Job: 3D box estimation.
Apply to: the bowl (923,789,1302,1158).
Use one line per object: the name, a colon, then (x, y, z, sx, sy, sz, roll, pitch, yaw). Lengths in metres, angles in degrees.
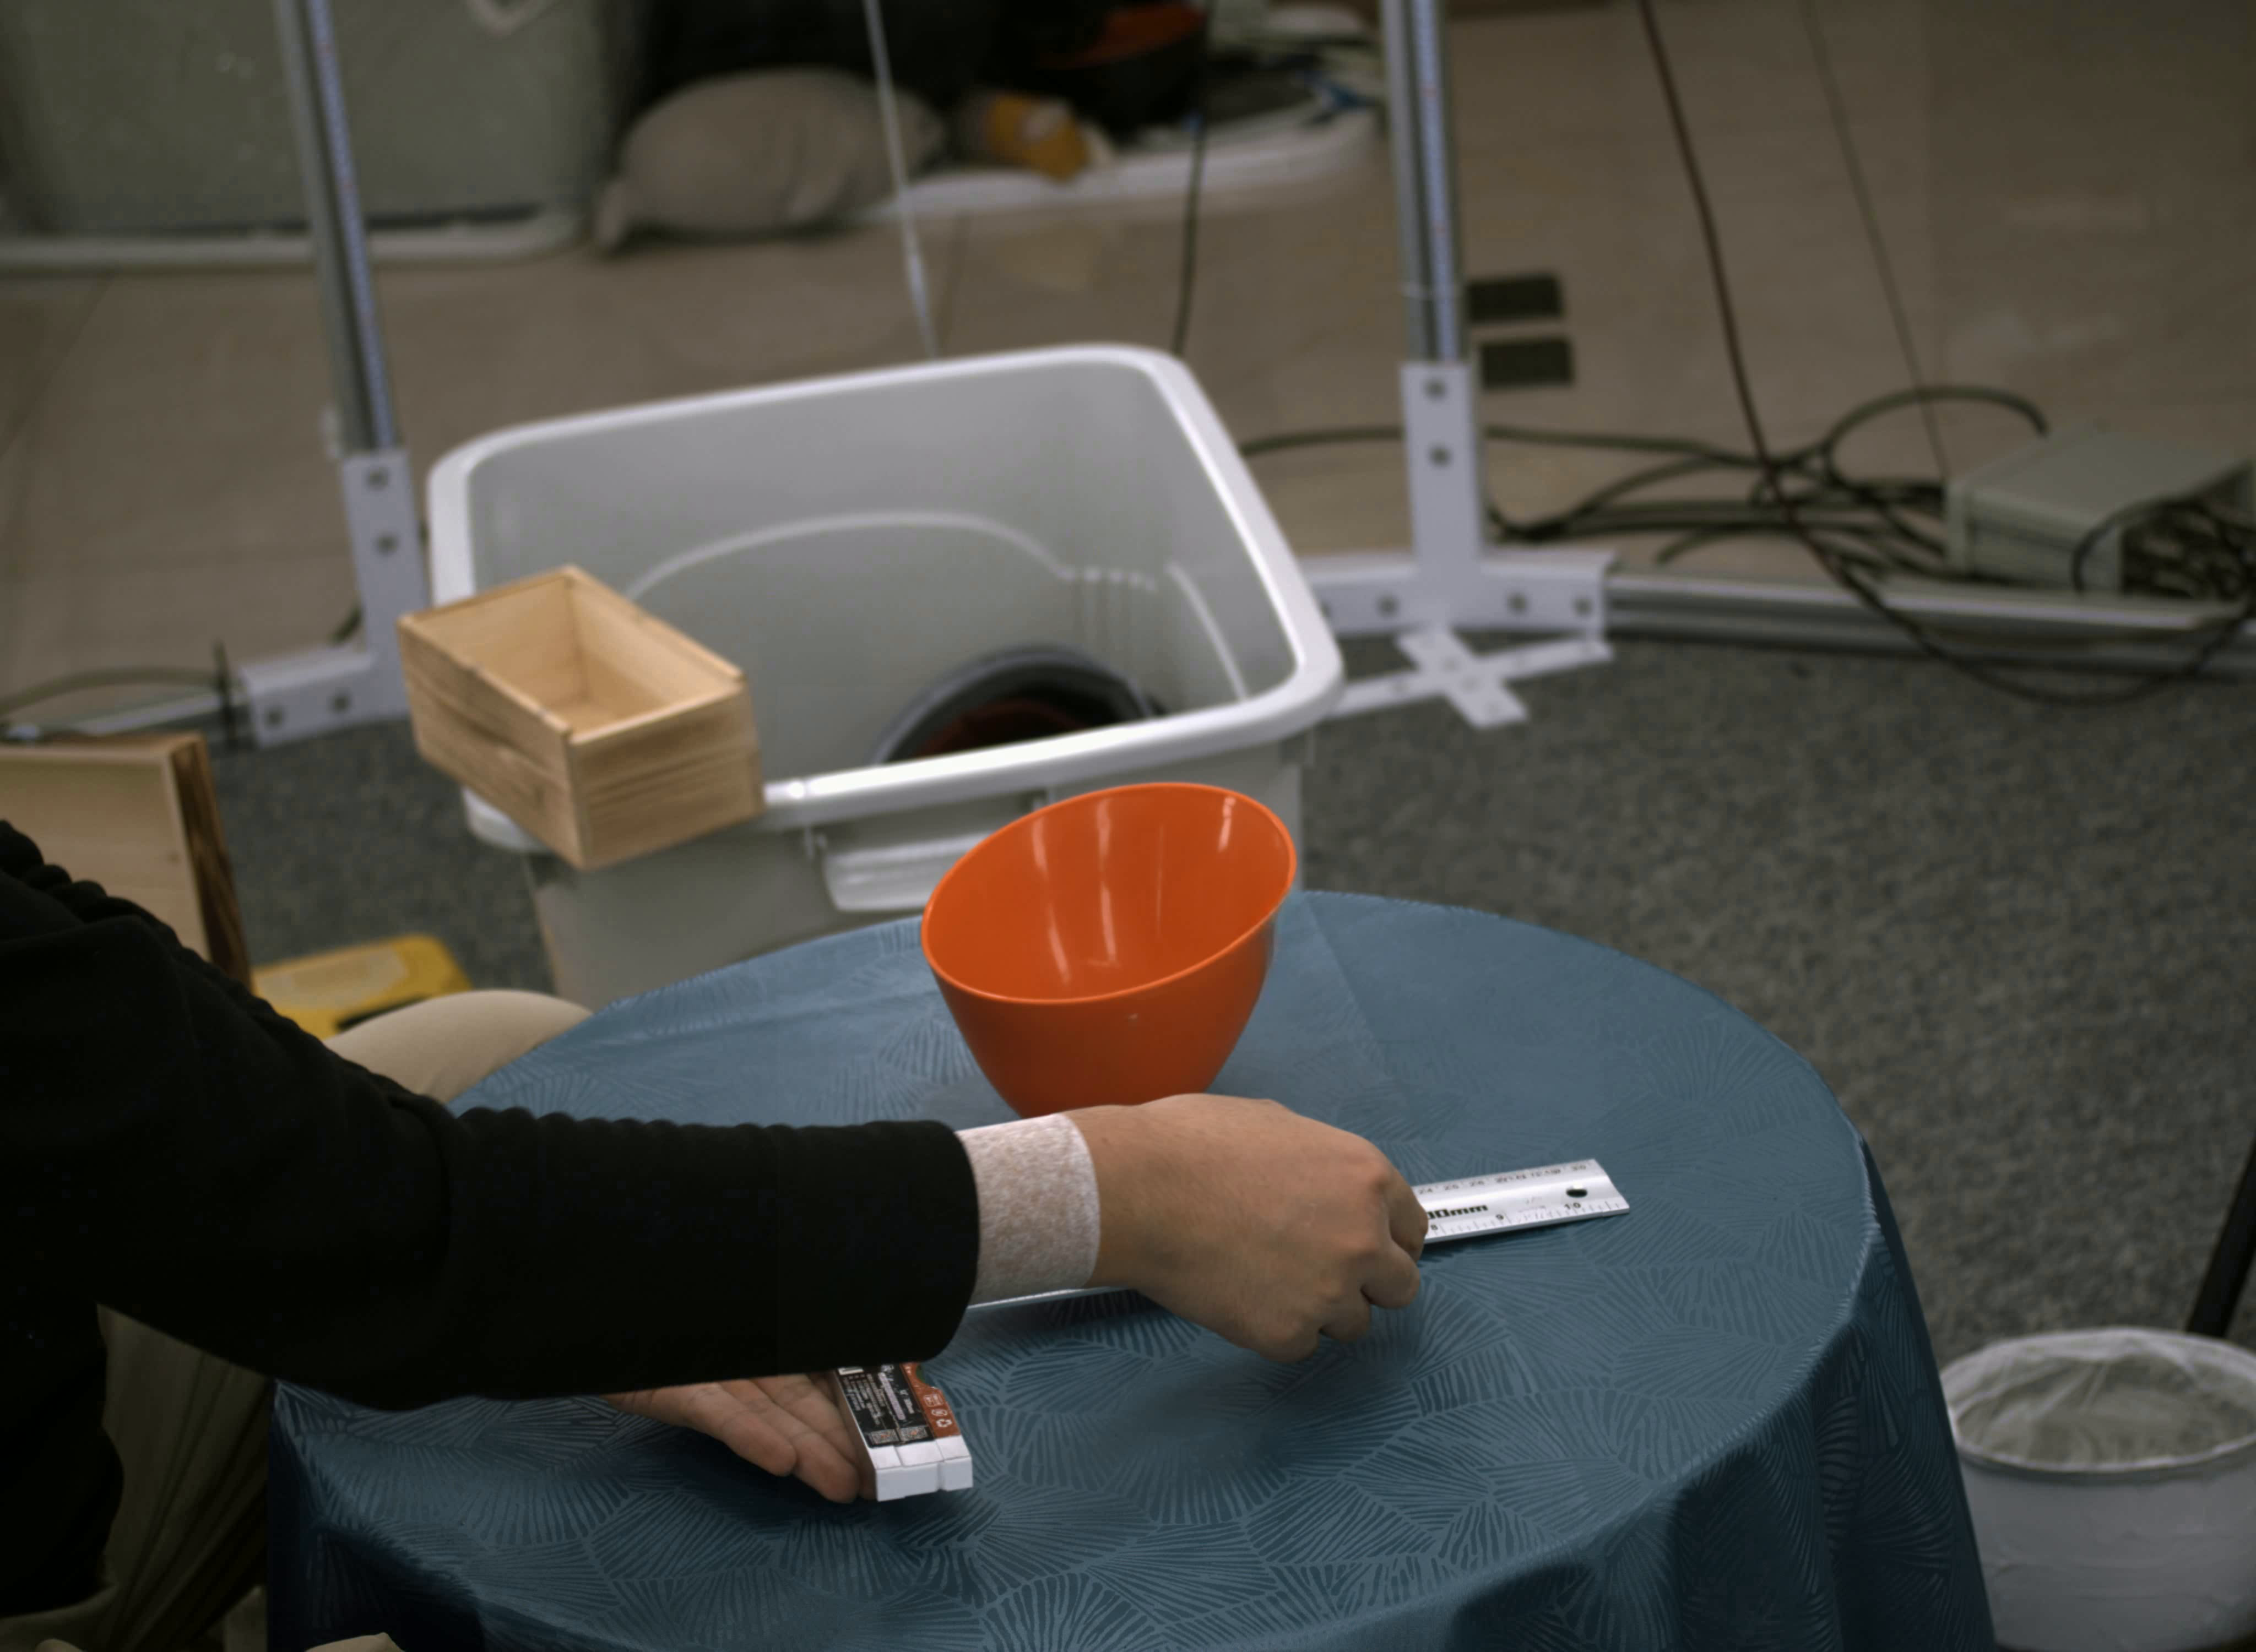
bowl: (-0.002, 0.063, 2.191, 0.148, 0.106, 0.146, -5, 26, 3)

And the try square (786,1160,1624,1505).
try square: (0.041, 0.176, 2.032, 0.312, 0.016, 0.150, -7, 27, -12)
